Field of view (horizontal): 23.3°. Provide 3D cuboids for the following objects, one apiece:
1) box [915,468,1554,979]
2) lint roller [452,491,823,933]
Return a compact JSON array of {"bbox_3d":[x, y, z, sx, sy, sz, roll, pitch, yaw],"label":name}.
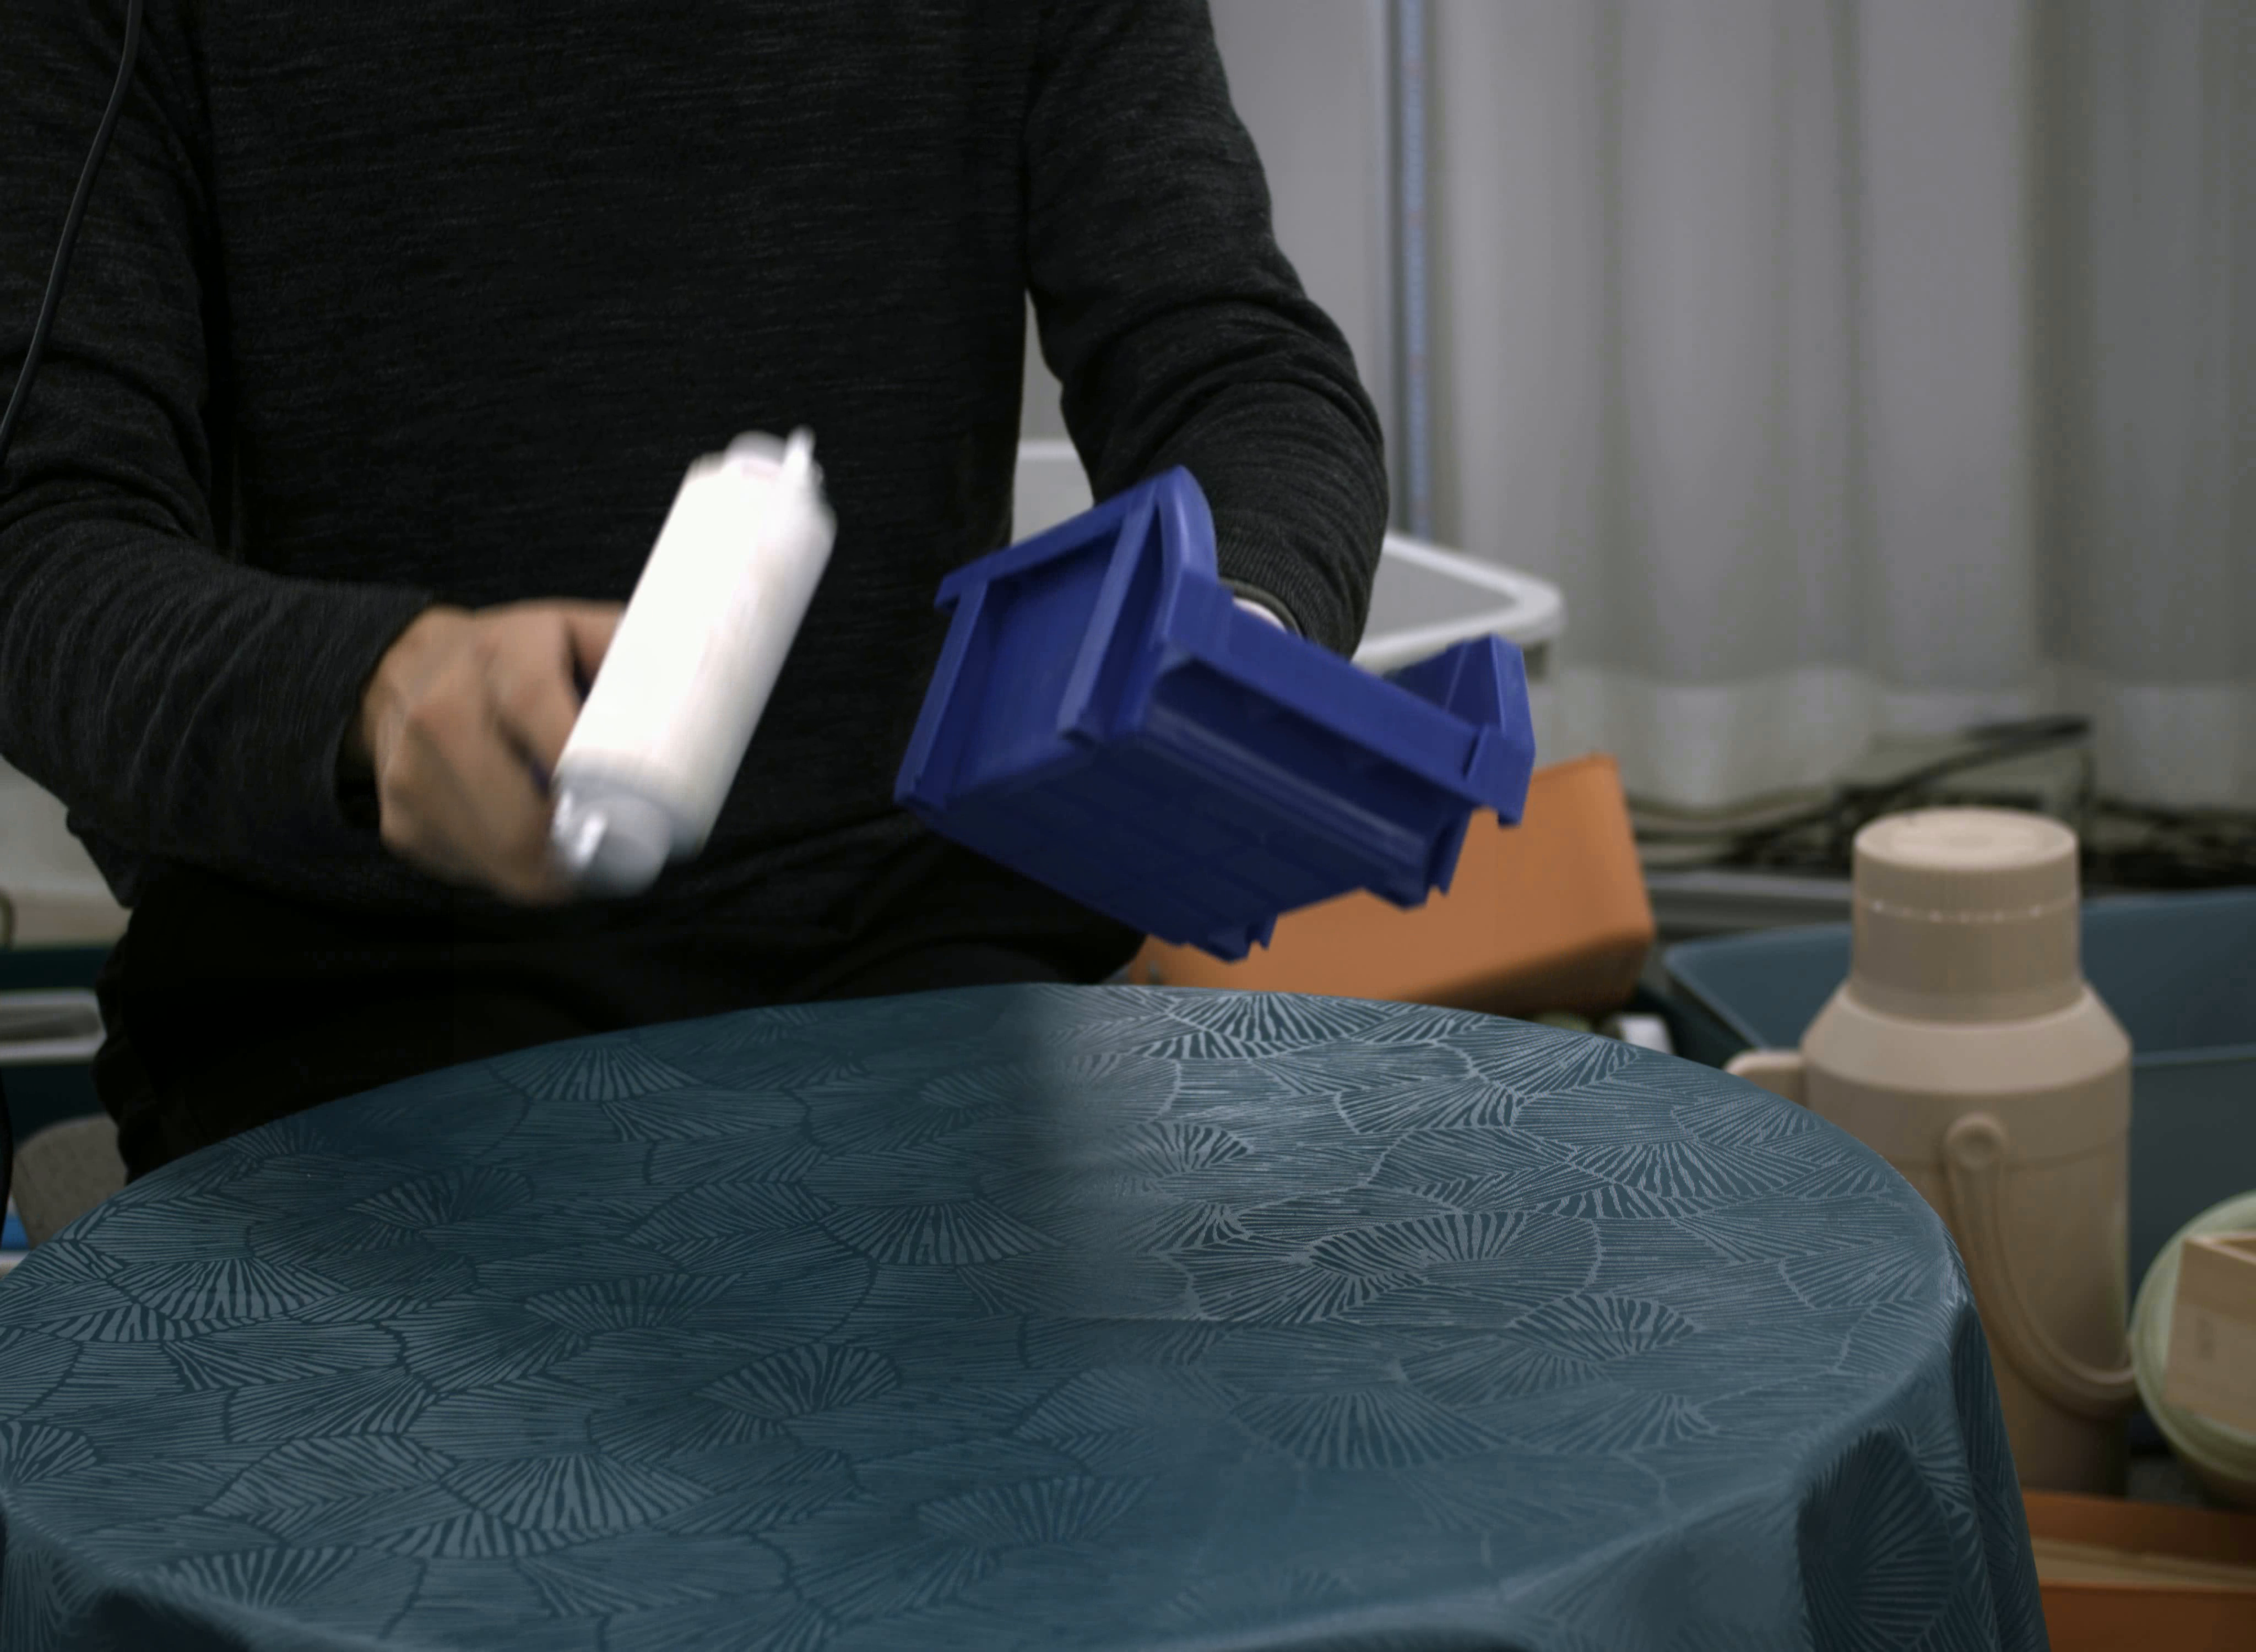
[{"bbox_3d":[0.031,-0.027,1.573,0.123,0.083,0.179,27,-24,-20],"label":"box"},{"bbox_3d":[-0.161,-0.025,1.575,0.049,0.134,0.181,35,-25,-27],"label":"lint roller"}]
